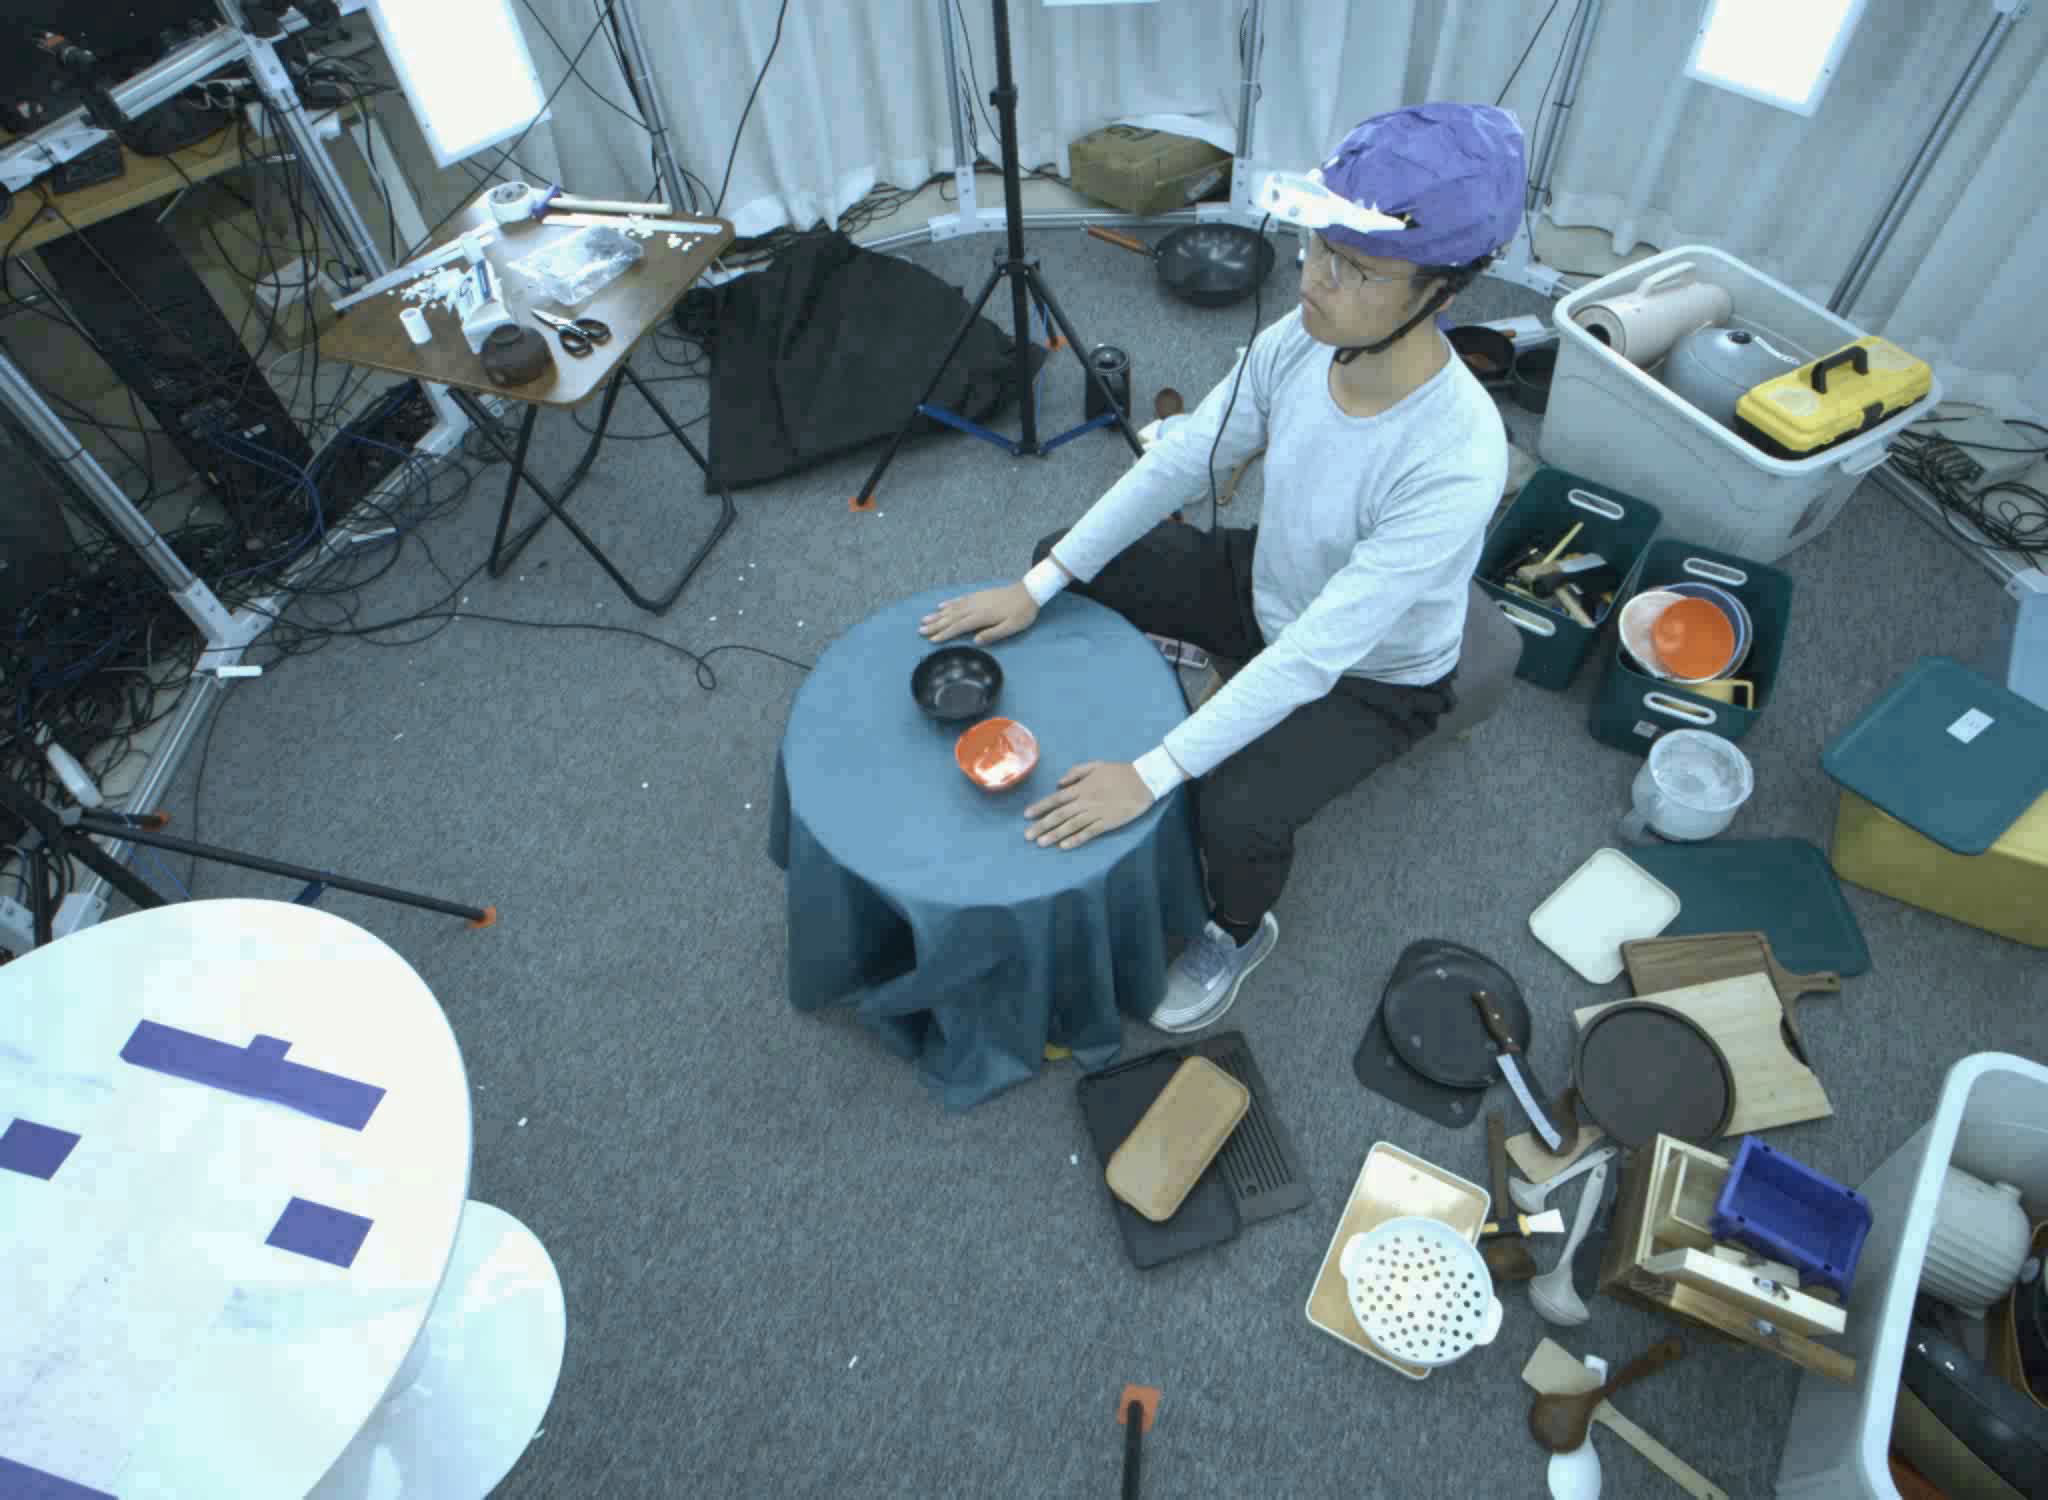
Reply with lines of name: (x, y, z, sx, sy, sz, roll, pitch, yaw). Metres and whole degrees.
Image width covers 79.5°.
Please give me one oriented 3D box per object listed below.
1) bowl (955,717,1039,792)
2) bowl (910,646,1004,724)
bowl: (-0.036, 0.014, 1.753, 0.119, 0.052, 0.117, -2, 54, 3)
bowl: (-0.099, -0.089, 1.832, 0.140, 0.050, 0.138, 1, 54, -1)
